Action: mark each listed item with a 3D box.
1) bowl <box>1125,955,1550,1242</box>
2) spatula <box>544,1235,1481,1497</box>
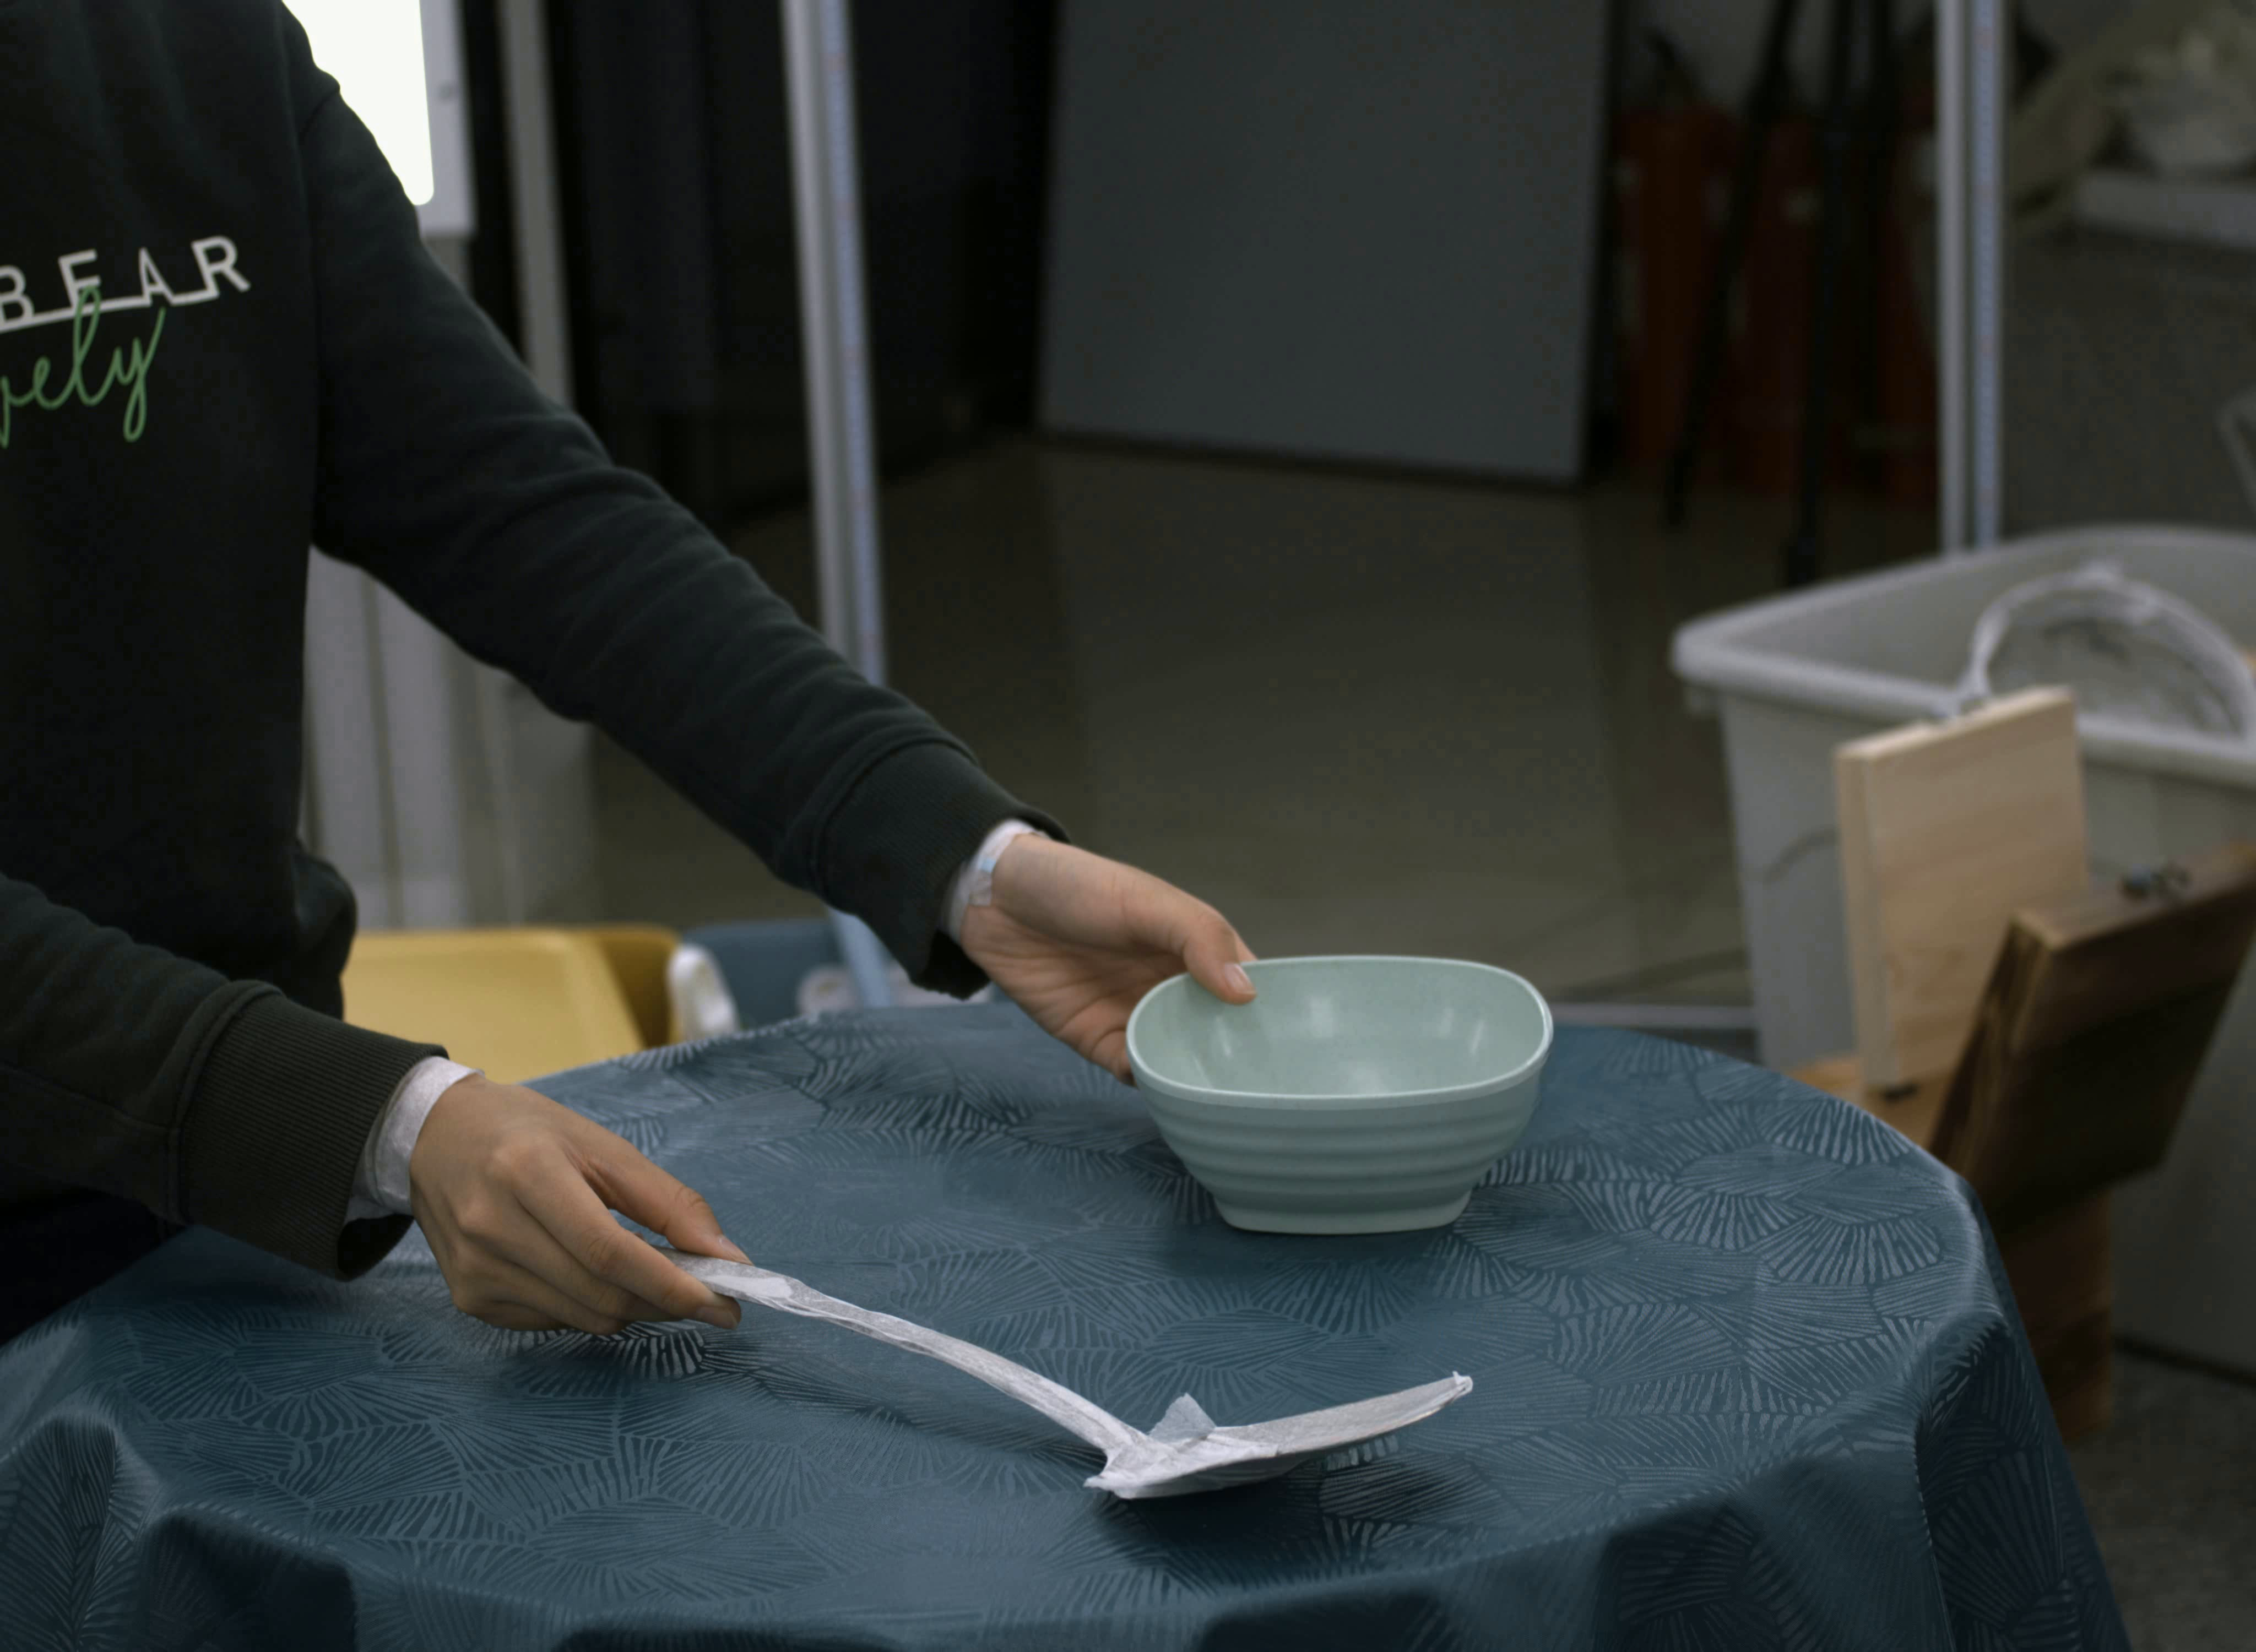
[{"bbox_3d":[0.068,0.092,1.745,0.149,0.059,0.152,-1,18,-1],"label":"bowl"},{"bbox_3d":[-0.056,0.147,1.578,0.368,0.045,0.096,13,20,42],"label":"spatula"}]
